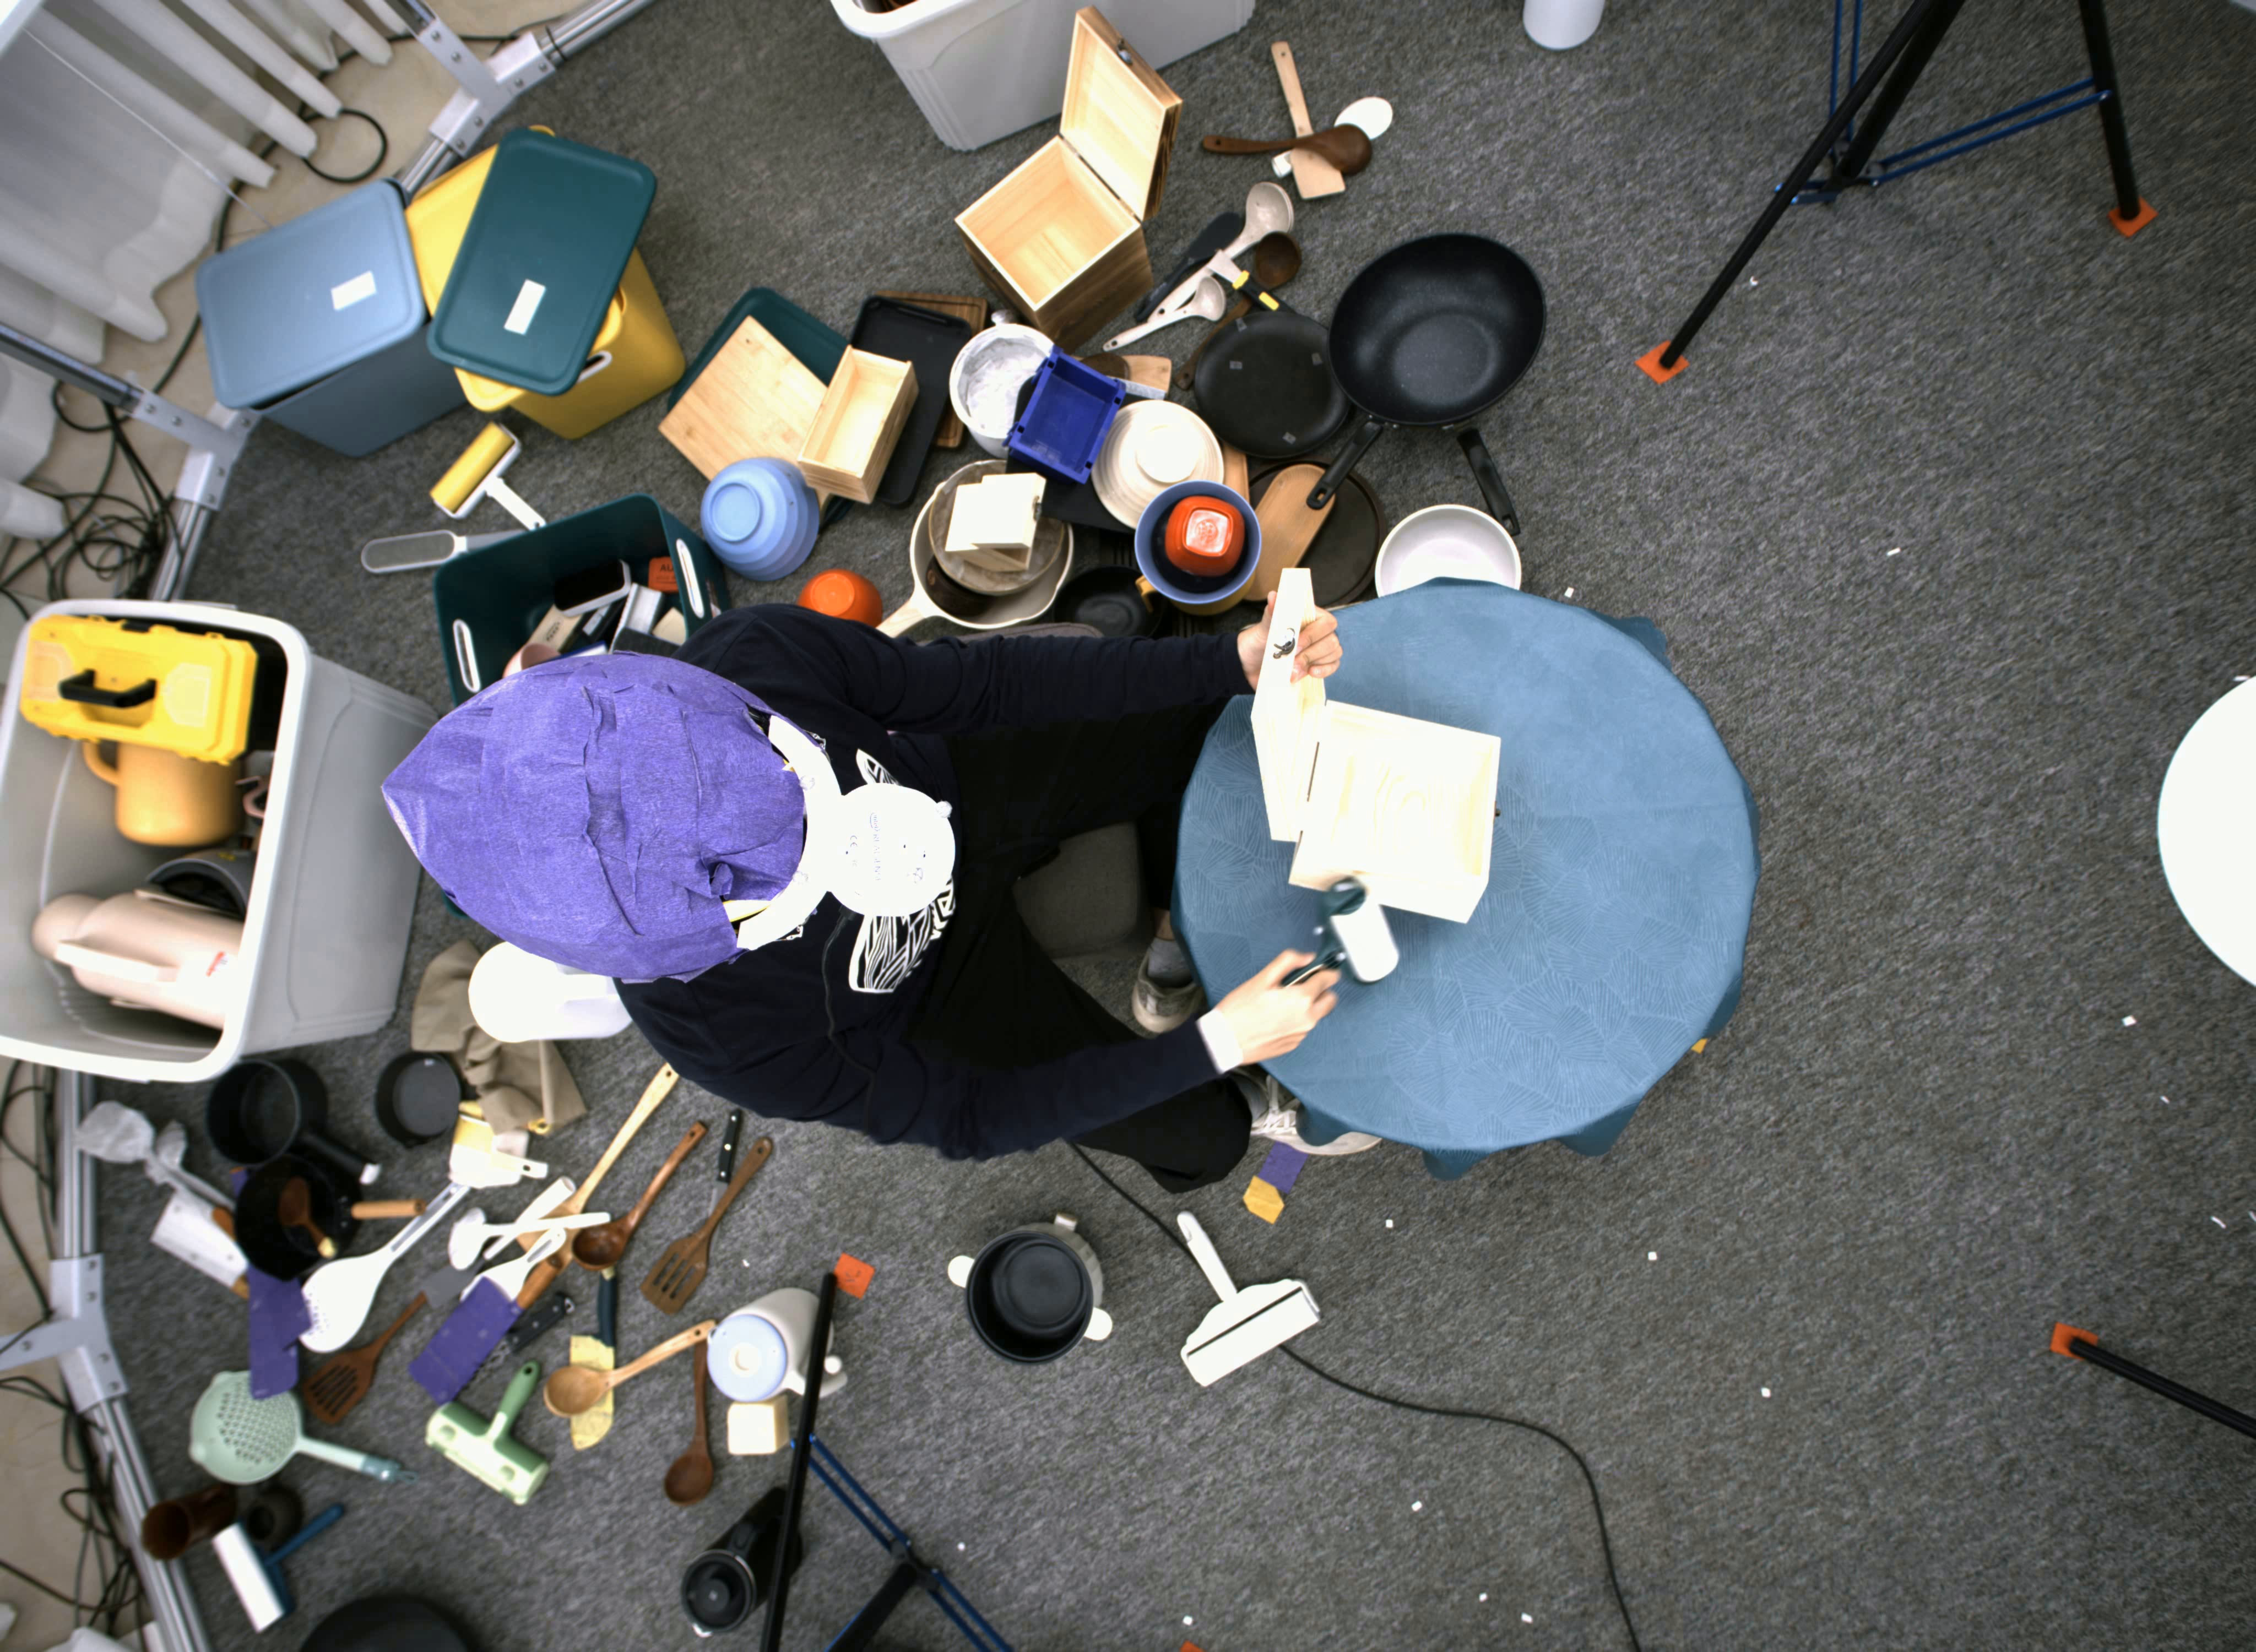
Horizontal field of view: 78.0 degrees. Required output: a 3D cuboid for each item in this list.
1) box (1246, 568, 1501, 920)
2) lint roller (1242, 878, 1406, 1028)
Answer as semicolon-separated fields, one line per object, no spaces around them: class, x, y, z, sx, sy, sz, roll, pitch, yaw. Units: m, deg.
box;0.240;-0.074;1.304;0.265;0.259;0.177;12;59;3
lint roller;0.189;0.141;1.343;0.179;0.137;0.048;-42;45;-10
